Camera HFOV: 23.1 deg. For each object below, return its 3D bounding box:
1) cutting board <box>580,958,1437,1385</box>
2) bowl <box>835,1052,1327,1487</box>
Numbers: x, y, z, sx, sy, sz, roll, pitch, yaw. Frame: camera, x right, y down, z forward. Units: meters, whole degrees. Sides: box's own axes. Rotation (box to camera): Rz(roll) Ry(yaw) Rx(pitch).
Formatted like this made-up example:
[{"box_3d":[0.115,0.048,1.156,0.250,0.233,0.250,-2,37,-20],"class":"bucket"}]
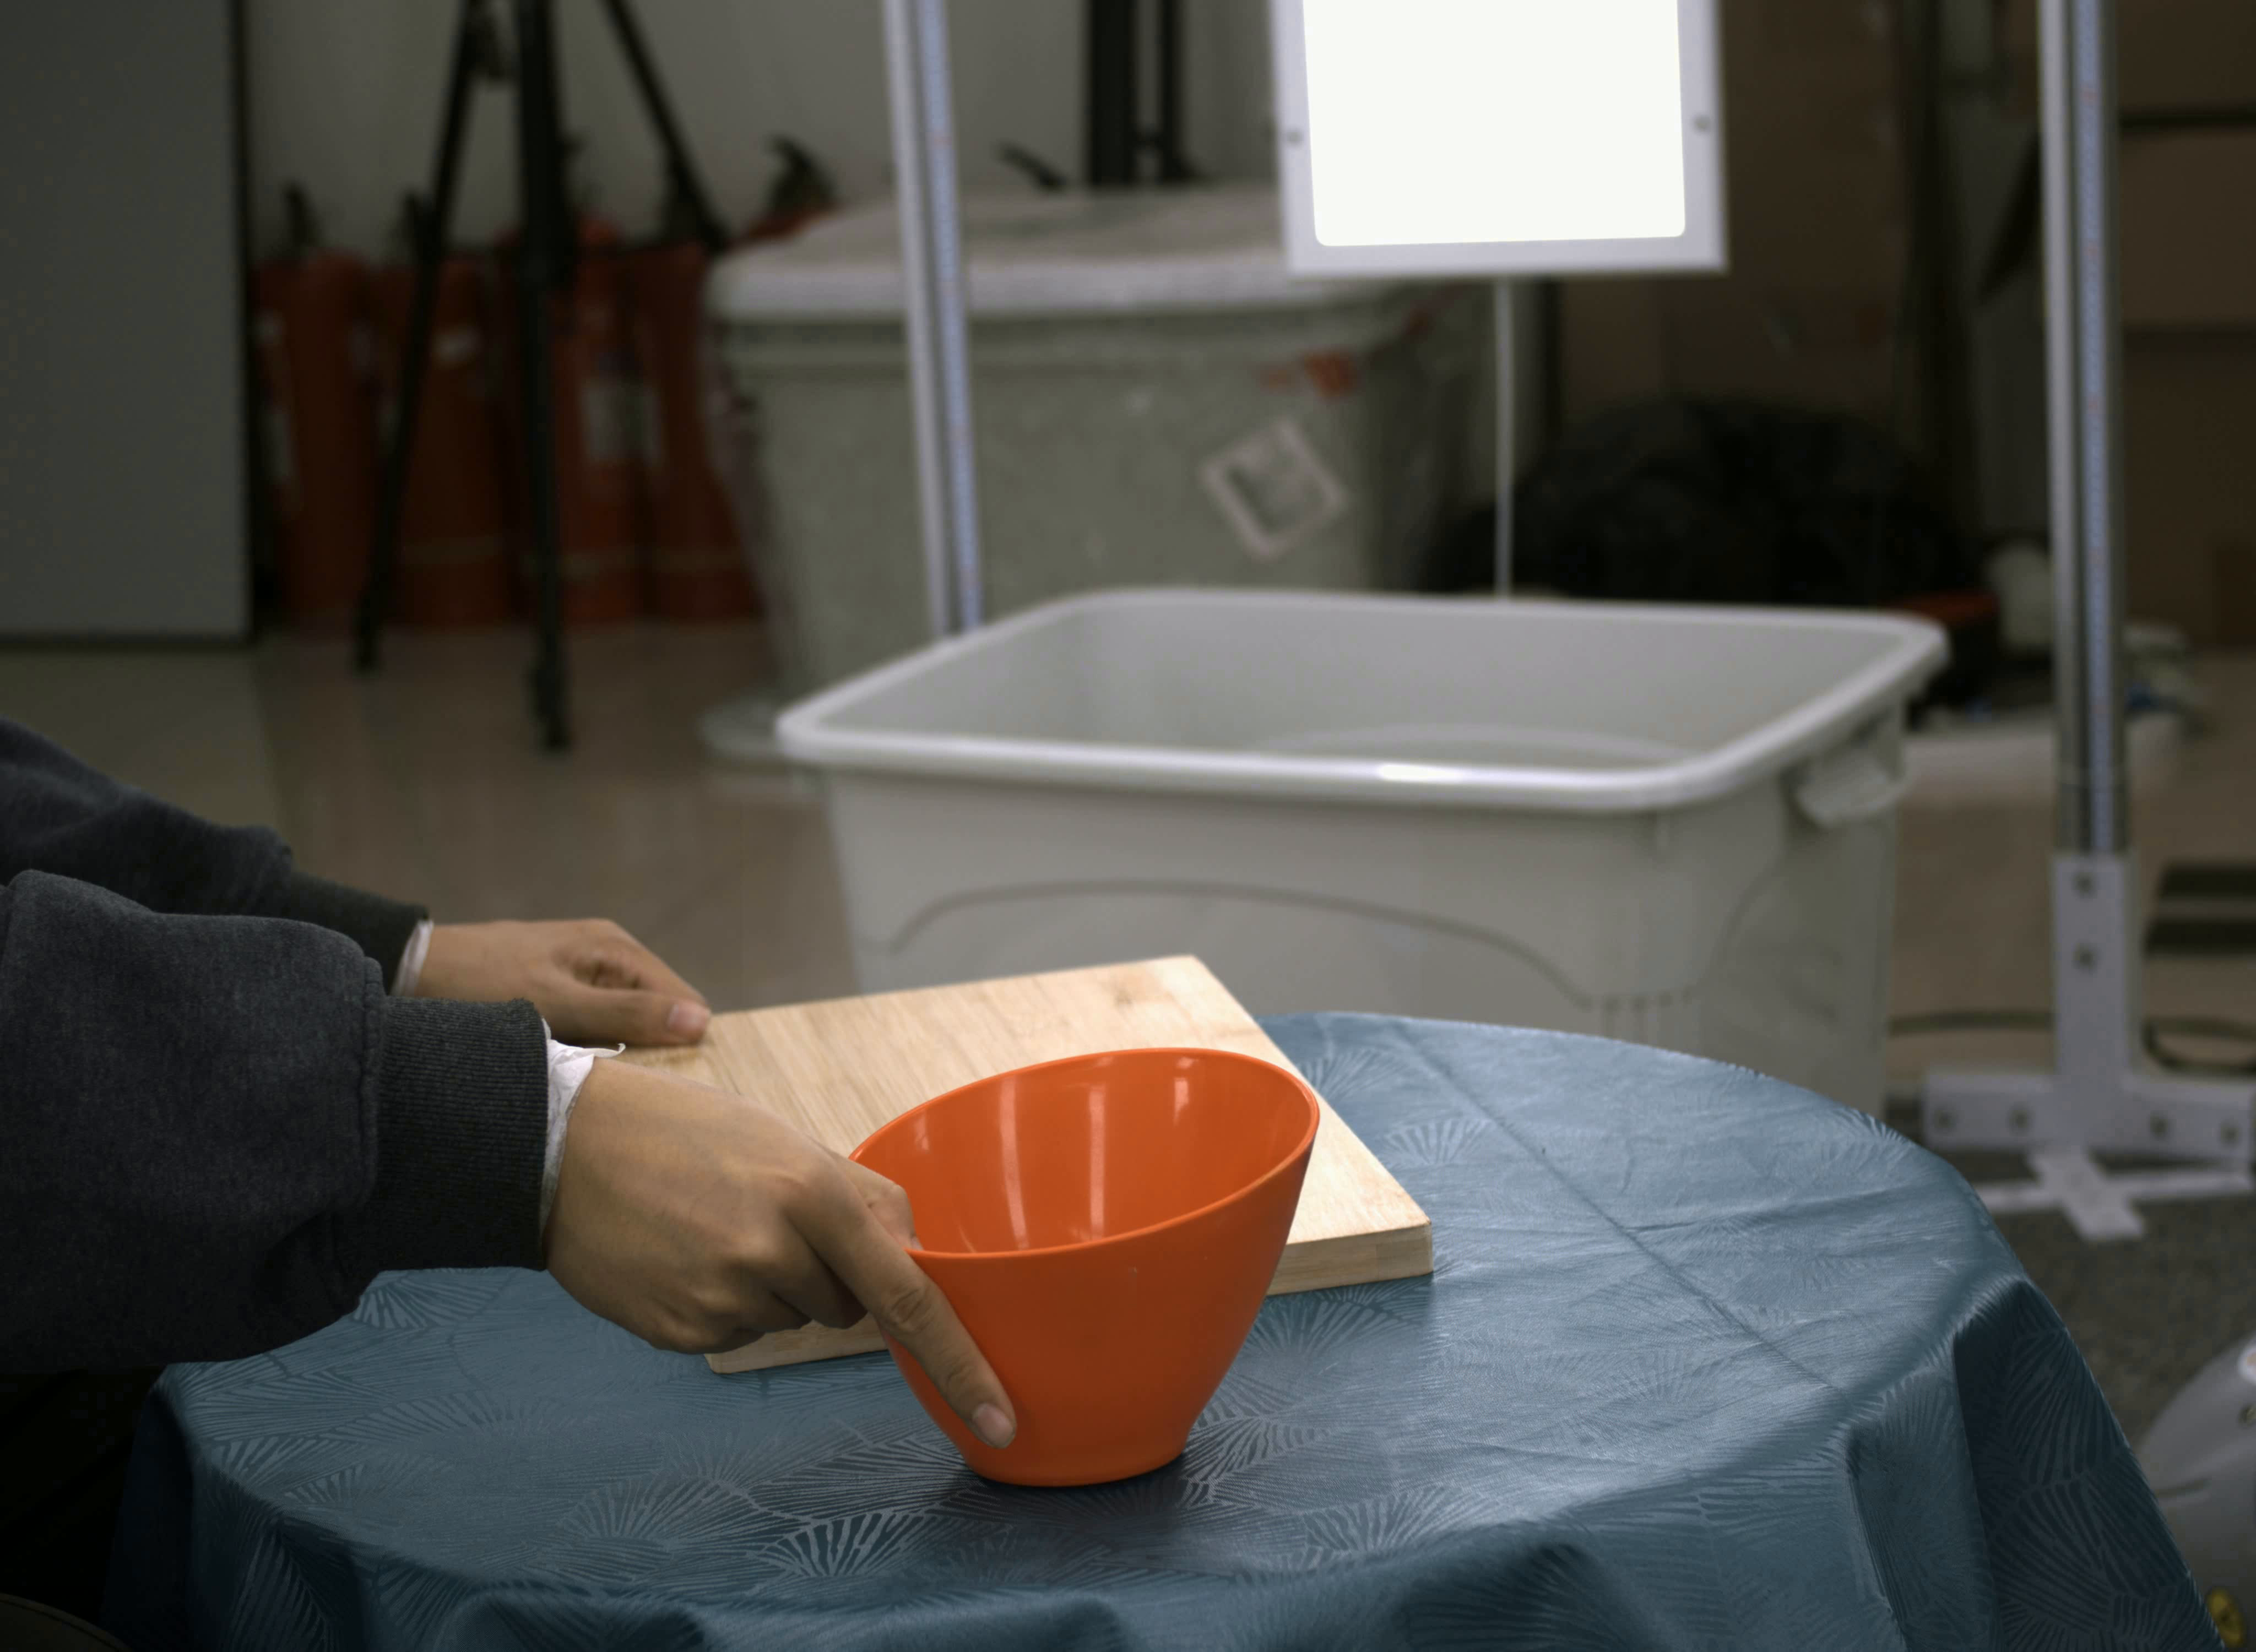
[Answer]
[{"box_3d":[-0.052,0.114,1.920,0.248,0.023,0.351,-8,15,-11],"class":"cutting board"},{"box_3d":[-0.013,0.135,1.645,0.147,0.105,0.148,-3,12,-1],"class":"bowl"}]
